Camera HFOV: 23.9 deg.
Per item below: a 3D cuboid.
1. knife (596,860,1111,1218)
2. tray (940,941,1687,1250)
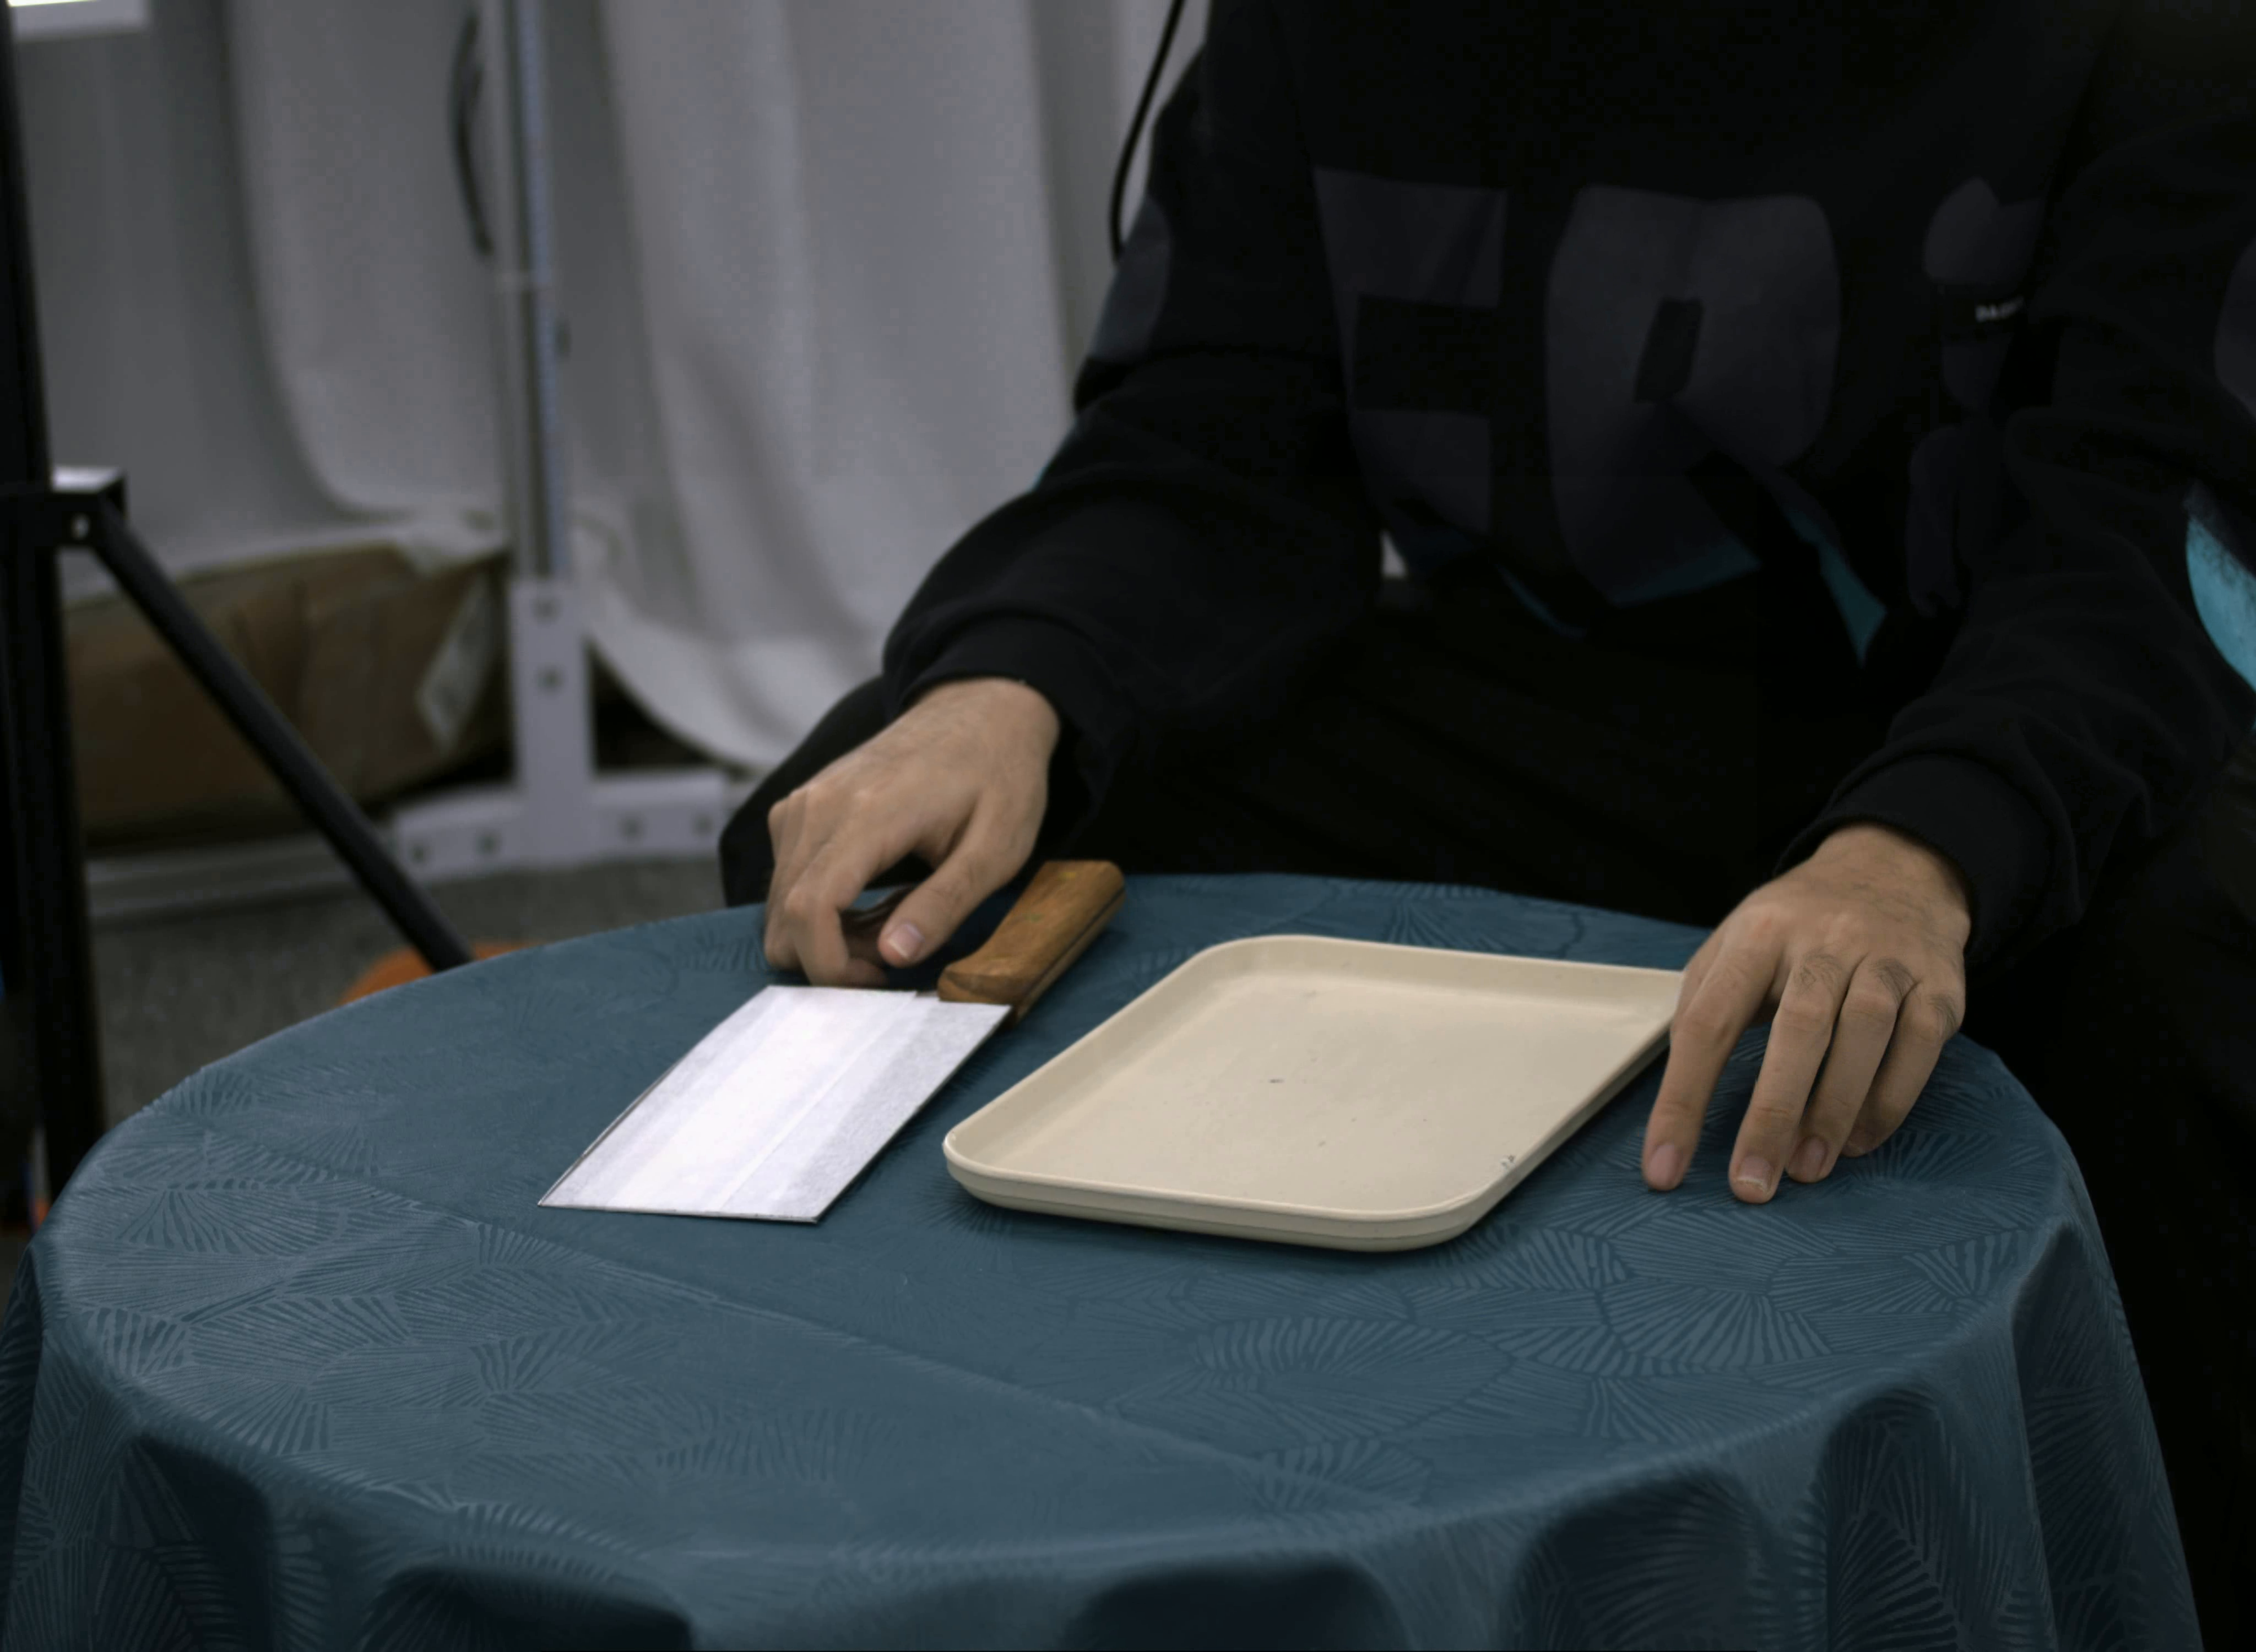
[{"bbox_3d":[-0.086,0.066,1.692,0.094,0.021,0.303,1,19,18],"label":"knife"},{"bbox_3d":[0.060,0.080,1.610,0.174,0.017,0.236,4,17,26],"label":"tray"}]
